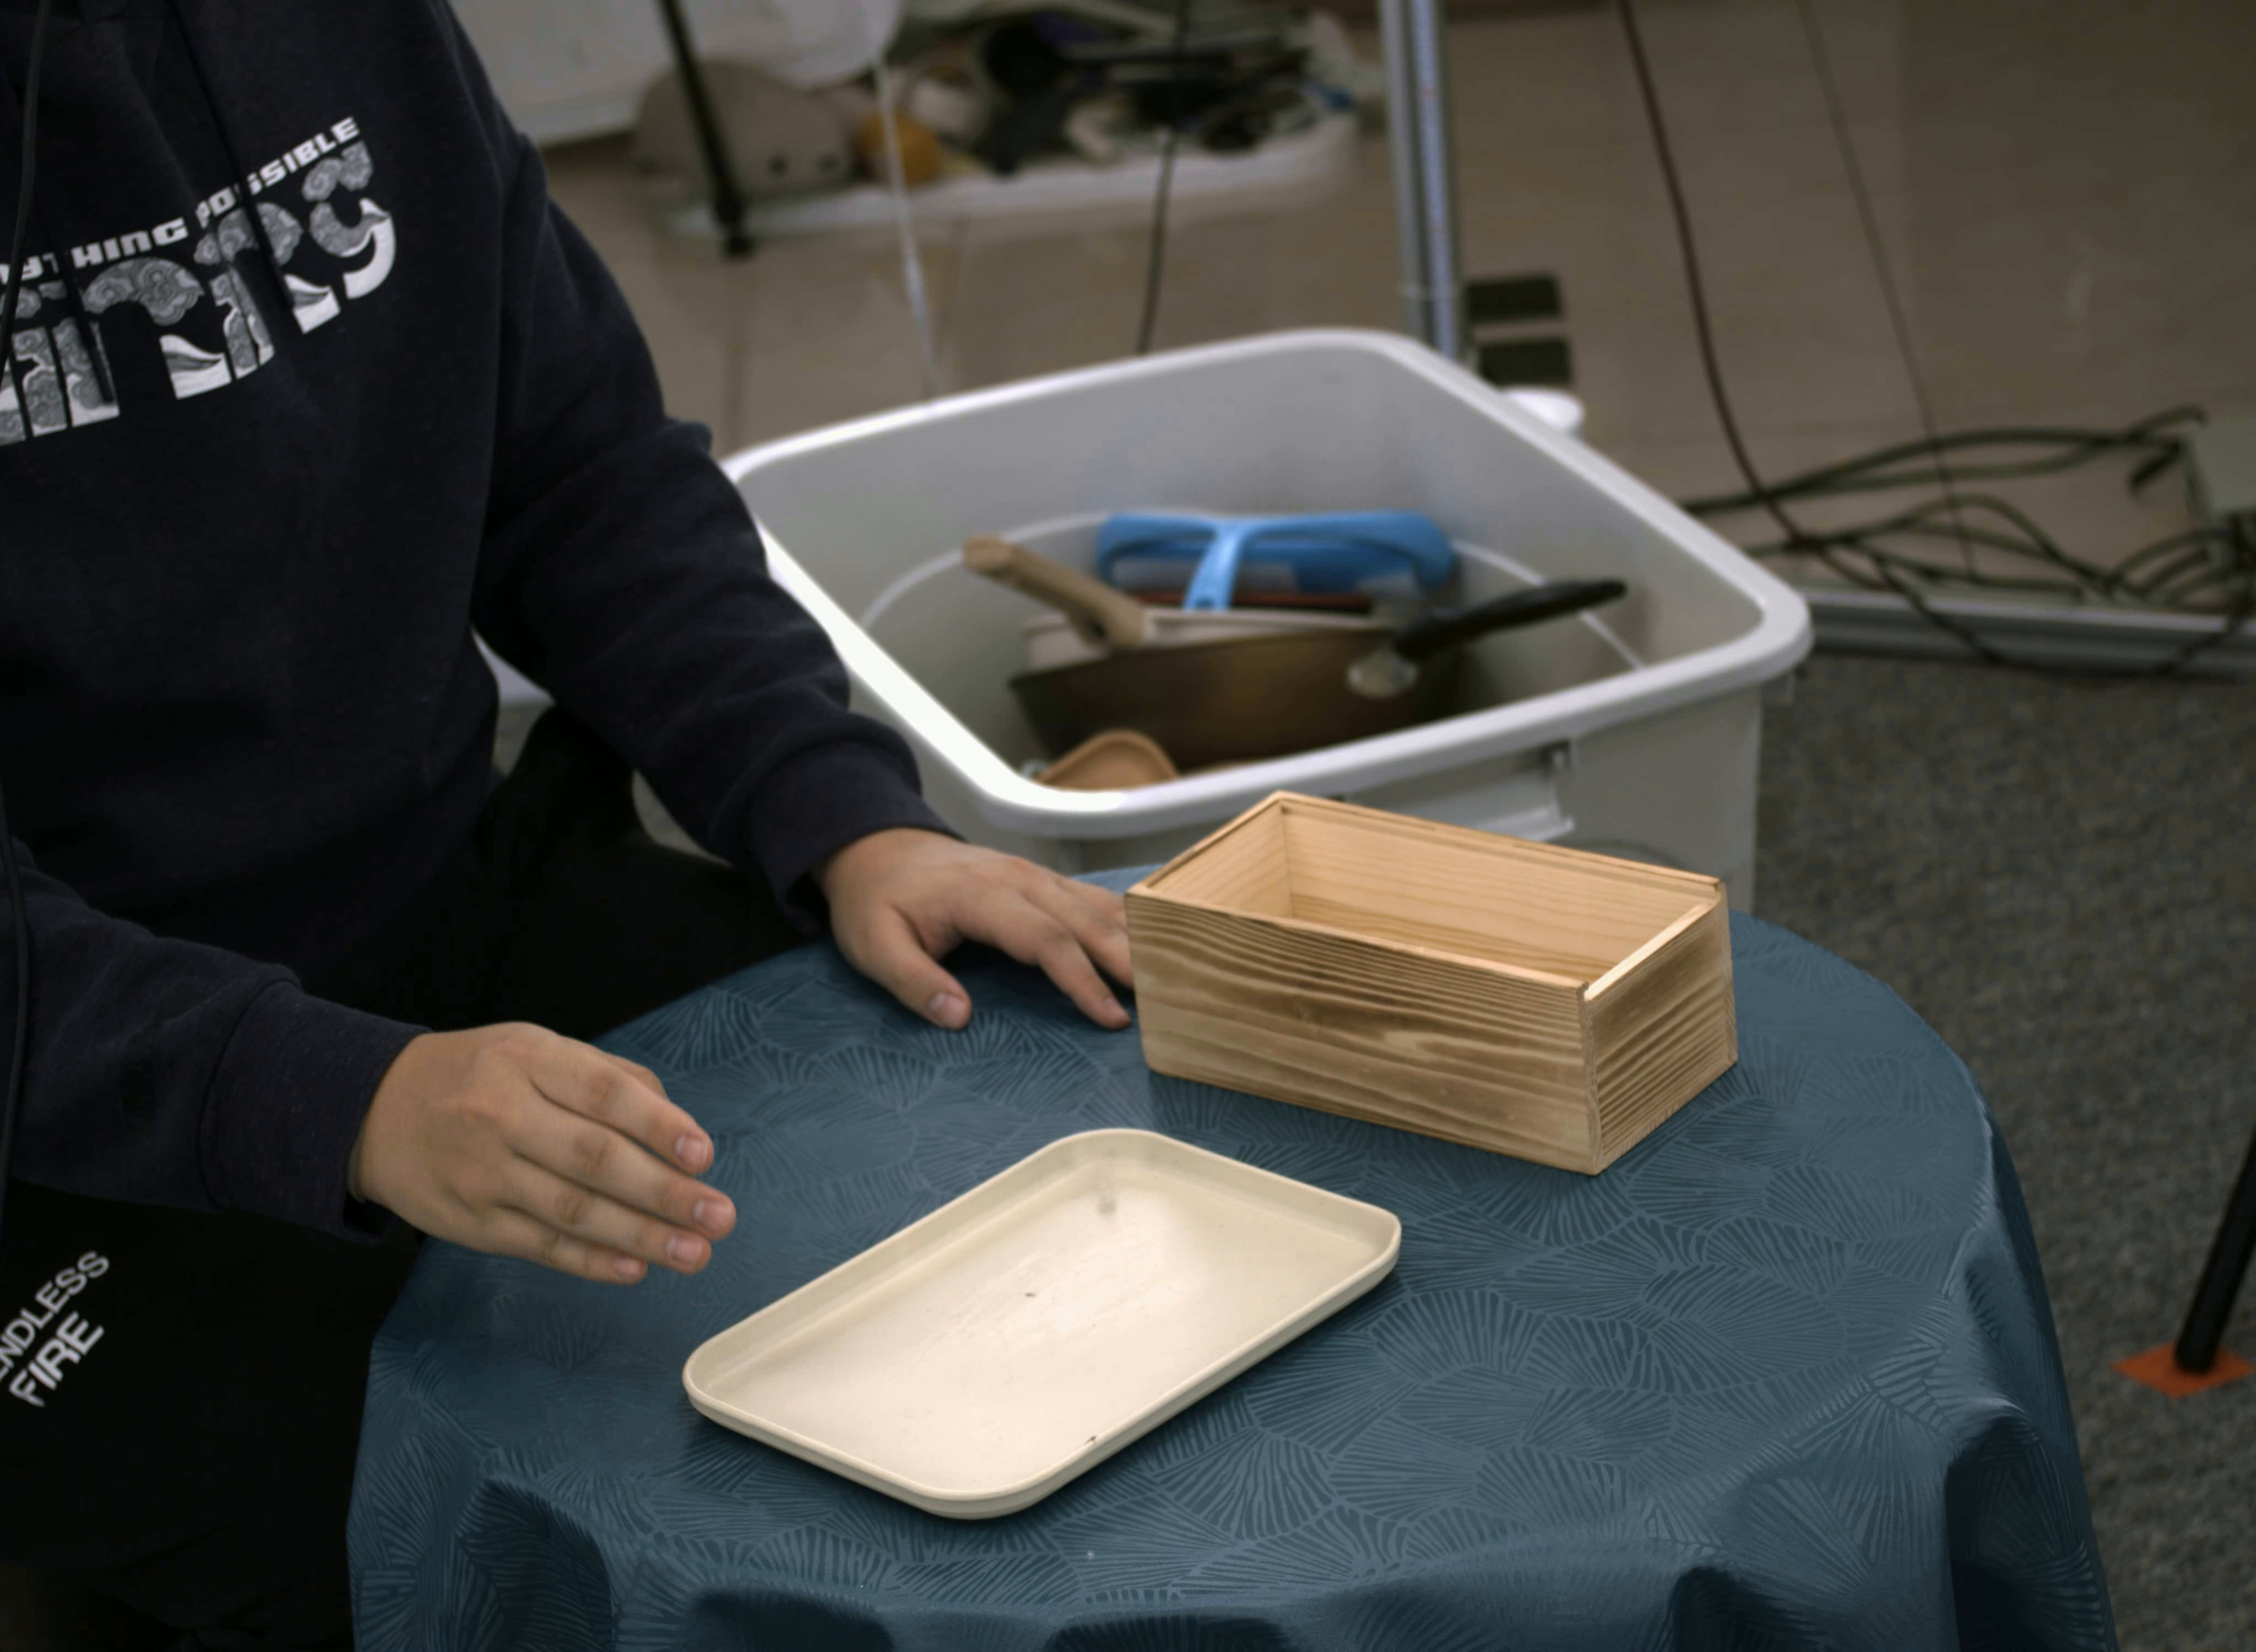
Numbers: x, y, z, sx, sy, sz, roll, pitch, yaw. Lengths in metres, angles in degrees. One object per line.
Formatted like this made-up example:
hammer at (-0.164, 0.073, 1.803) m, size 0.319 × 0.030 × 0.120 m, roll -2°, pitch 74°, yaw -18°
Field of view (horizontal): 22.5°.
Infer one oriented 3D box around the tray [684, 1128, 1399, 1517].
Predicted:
tray at (-0.029, 0.178, 2.049) m, size 0.170 × 0.018 × 0.237 m, roll 16°, pitch 33°, yaw 41°

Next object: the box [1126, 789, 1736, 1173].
box at (0.117, 0.057, 2.200) m, size 0.210 × 0.081 × 0.106 m, roll 12°, pitch 30°, yaw 35°
